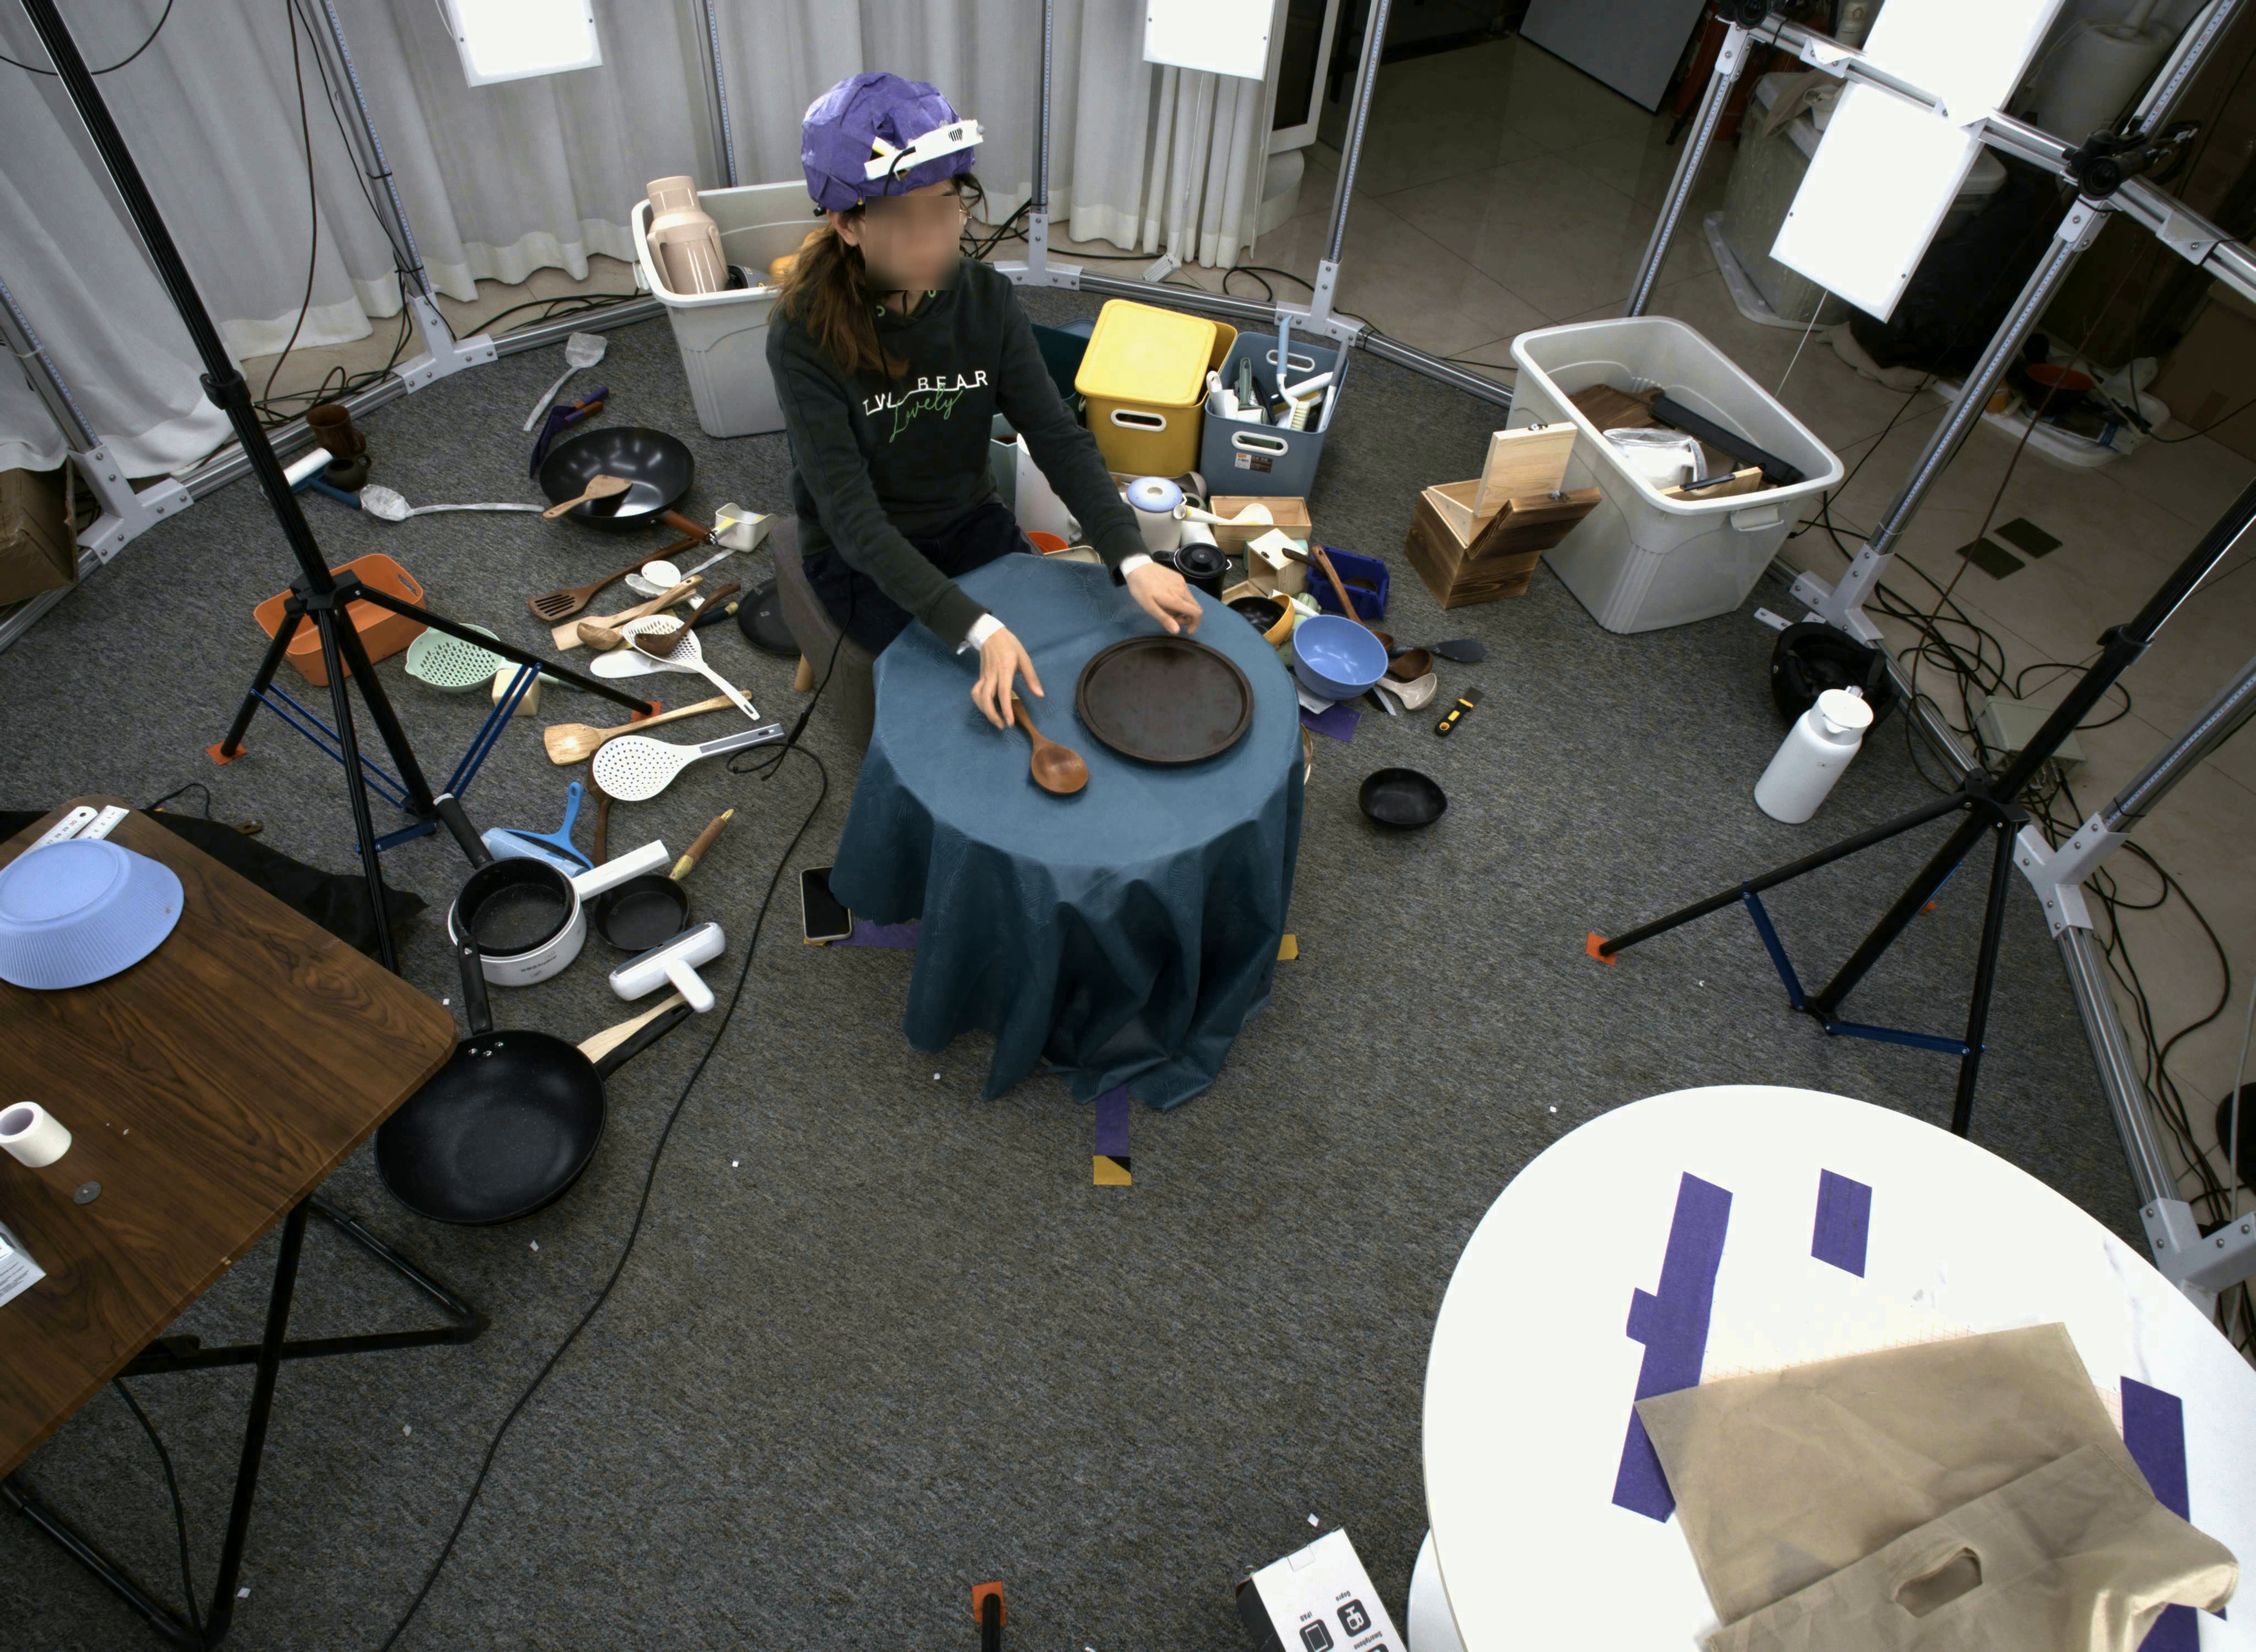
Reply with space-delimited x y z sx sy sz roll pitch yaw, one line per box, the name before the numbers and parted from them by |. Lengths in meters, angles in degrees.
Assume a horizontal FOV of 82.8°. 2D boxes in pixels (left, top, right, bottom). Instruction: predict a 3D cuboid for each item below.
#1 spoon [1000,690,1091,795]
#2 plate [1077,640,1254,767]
spoon | -0.121 -0.116 1.766 0.075 0.017 0.220 -21 53 -20
plate | 0.054 -0.177 1.828 0.254 0.028 0.261 3 49 -3
